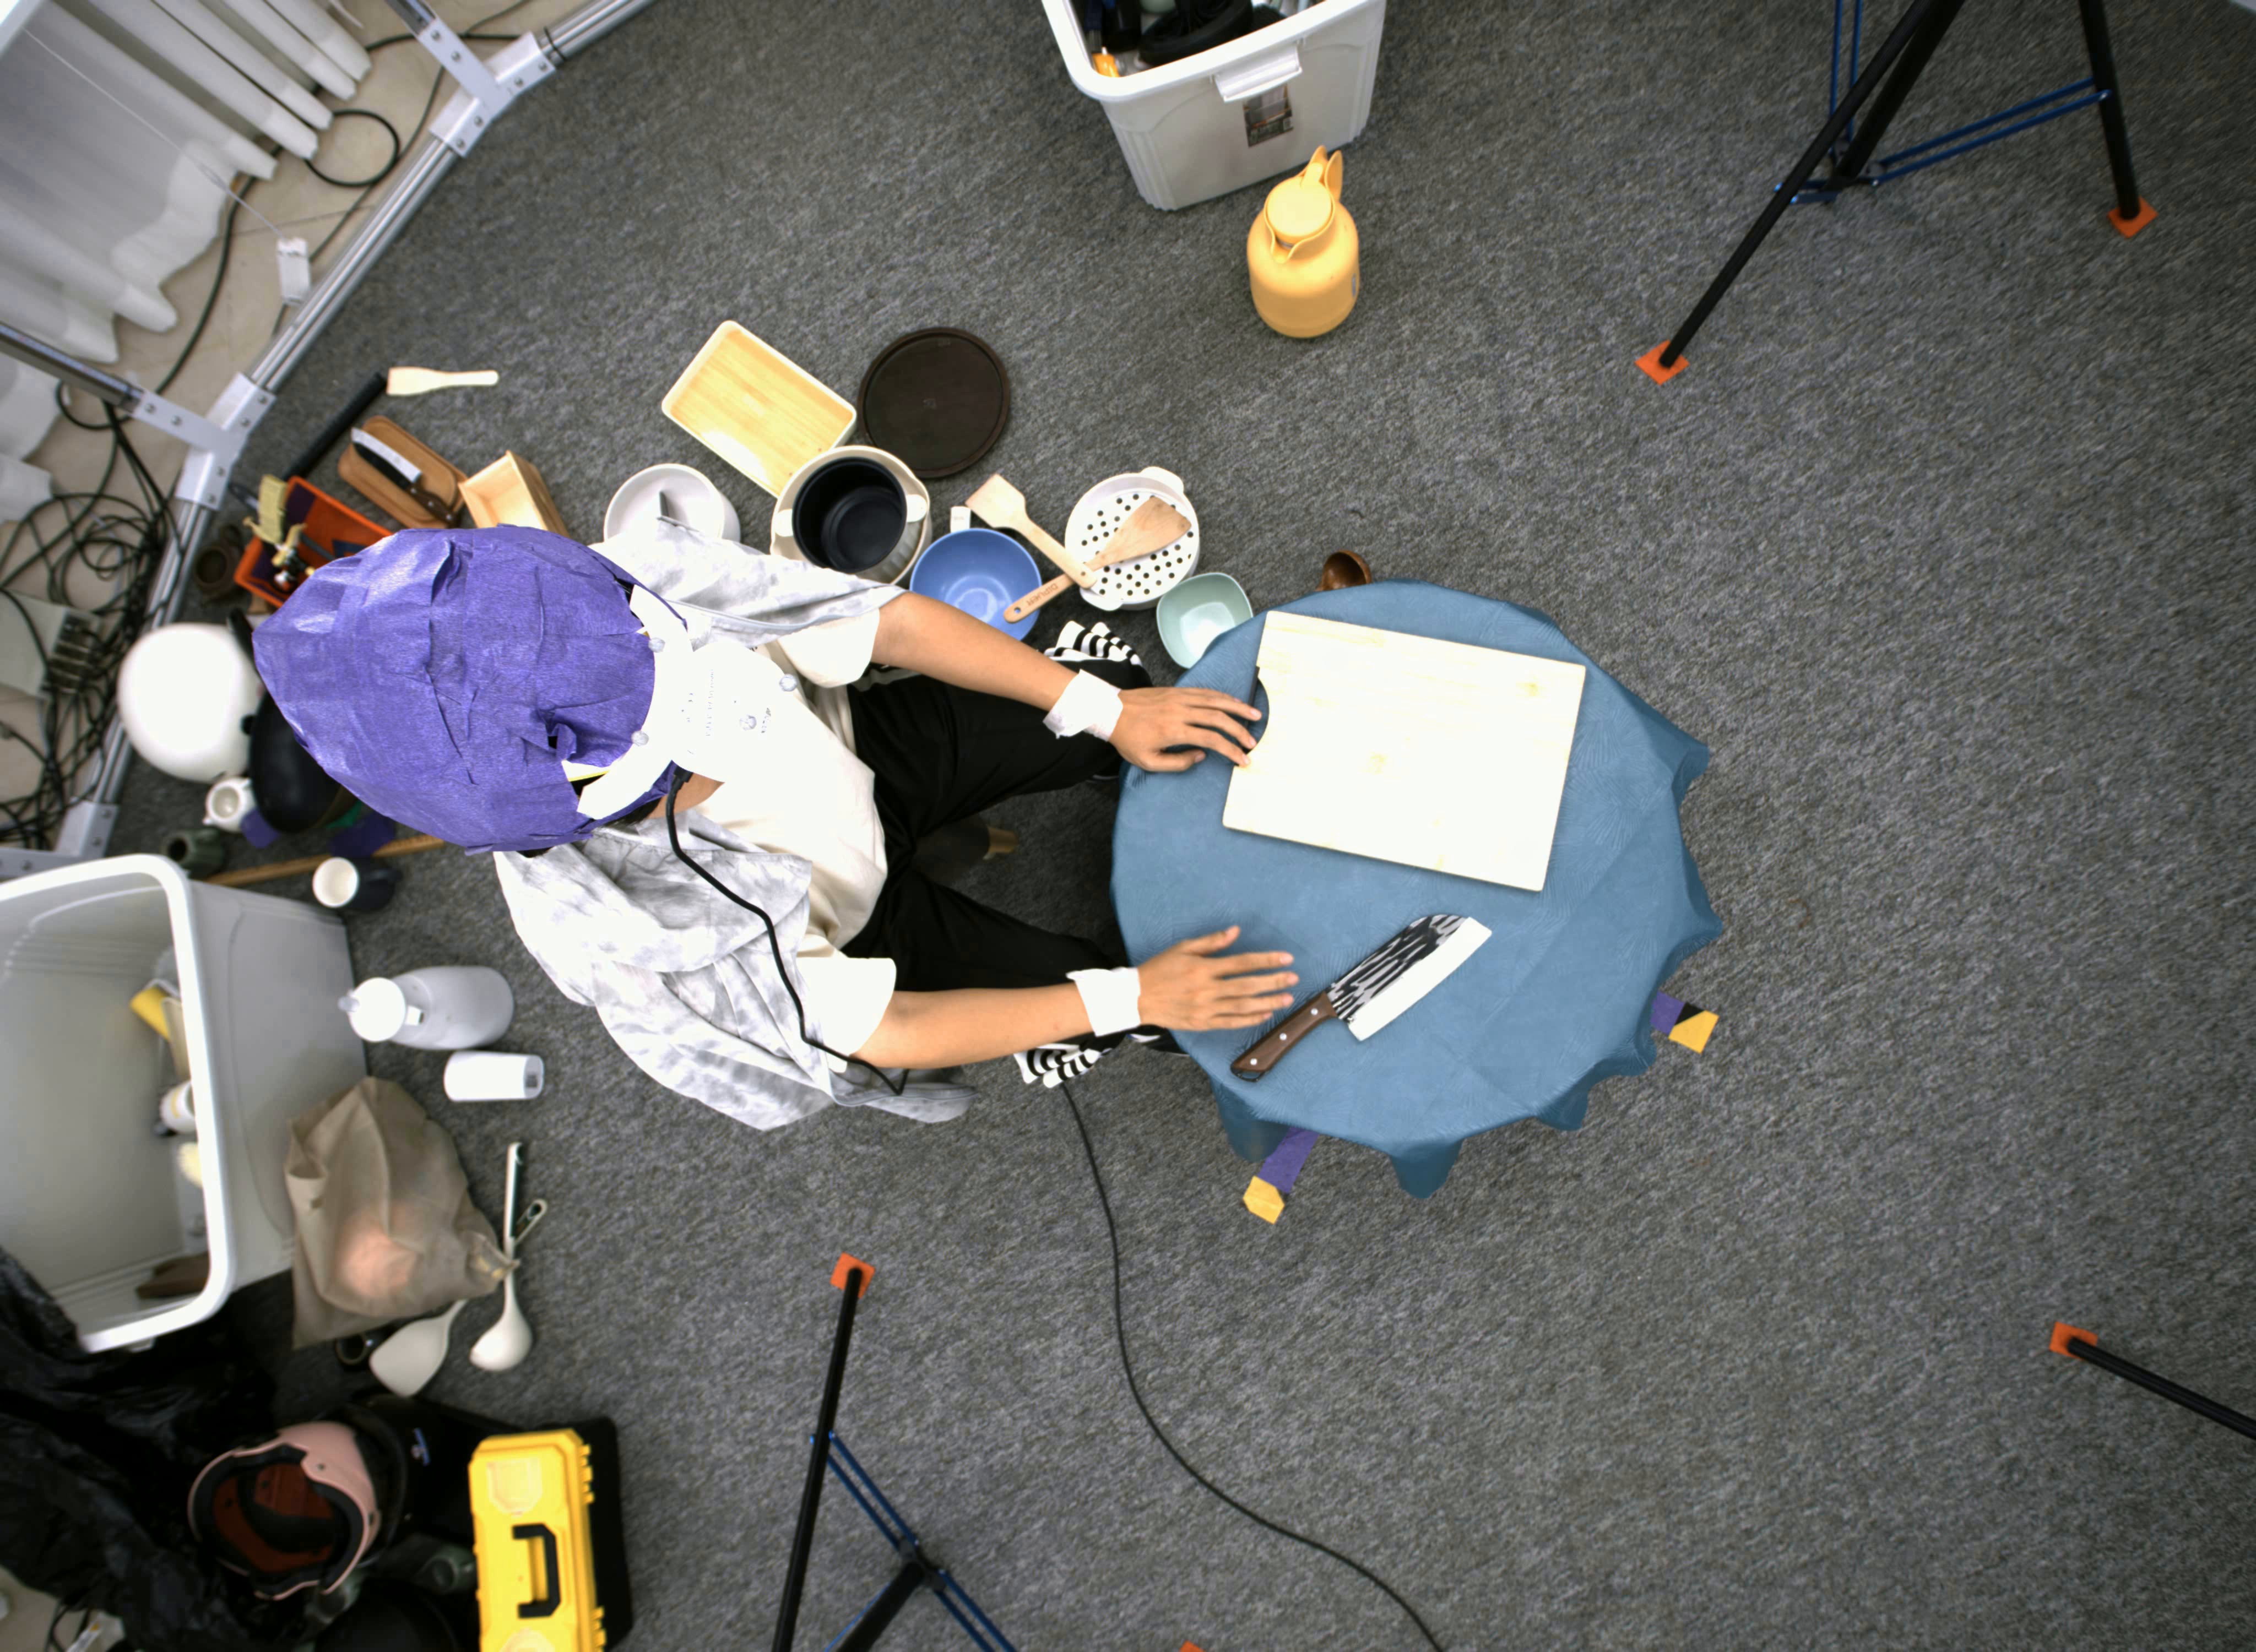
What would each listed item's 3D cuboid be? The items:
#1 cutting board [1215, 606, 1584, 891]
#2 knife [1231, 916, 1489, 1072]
[{"bbox_3d":[0.284,-0.087,1.456,0.349,0.023,0.250,11,89,11],"label":"cutting board"},{"bbox_3d":[0.243,0.181,1.447,0.300,0.024,0.068,-36,83,4],"label":"knife"}]
